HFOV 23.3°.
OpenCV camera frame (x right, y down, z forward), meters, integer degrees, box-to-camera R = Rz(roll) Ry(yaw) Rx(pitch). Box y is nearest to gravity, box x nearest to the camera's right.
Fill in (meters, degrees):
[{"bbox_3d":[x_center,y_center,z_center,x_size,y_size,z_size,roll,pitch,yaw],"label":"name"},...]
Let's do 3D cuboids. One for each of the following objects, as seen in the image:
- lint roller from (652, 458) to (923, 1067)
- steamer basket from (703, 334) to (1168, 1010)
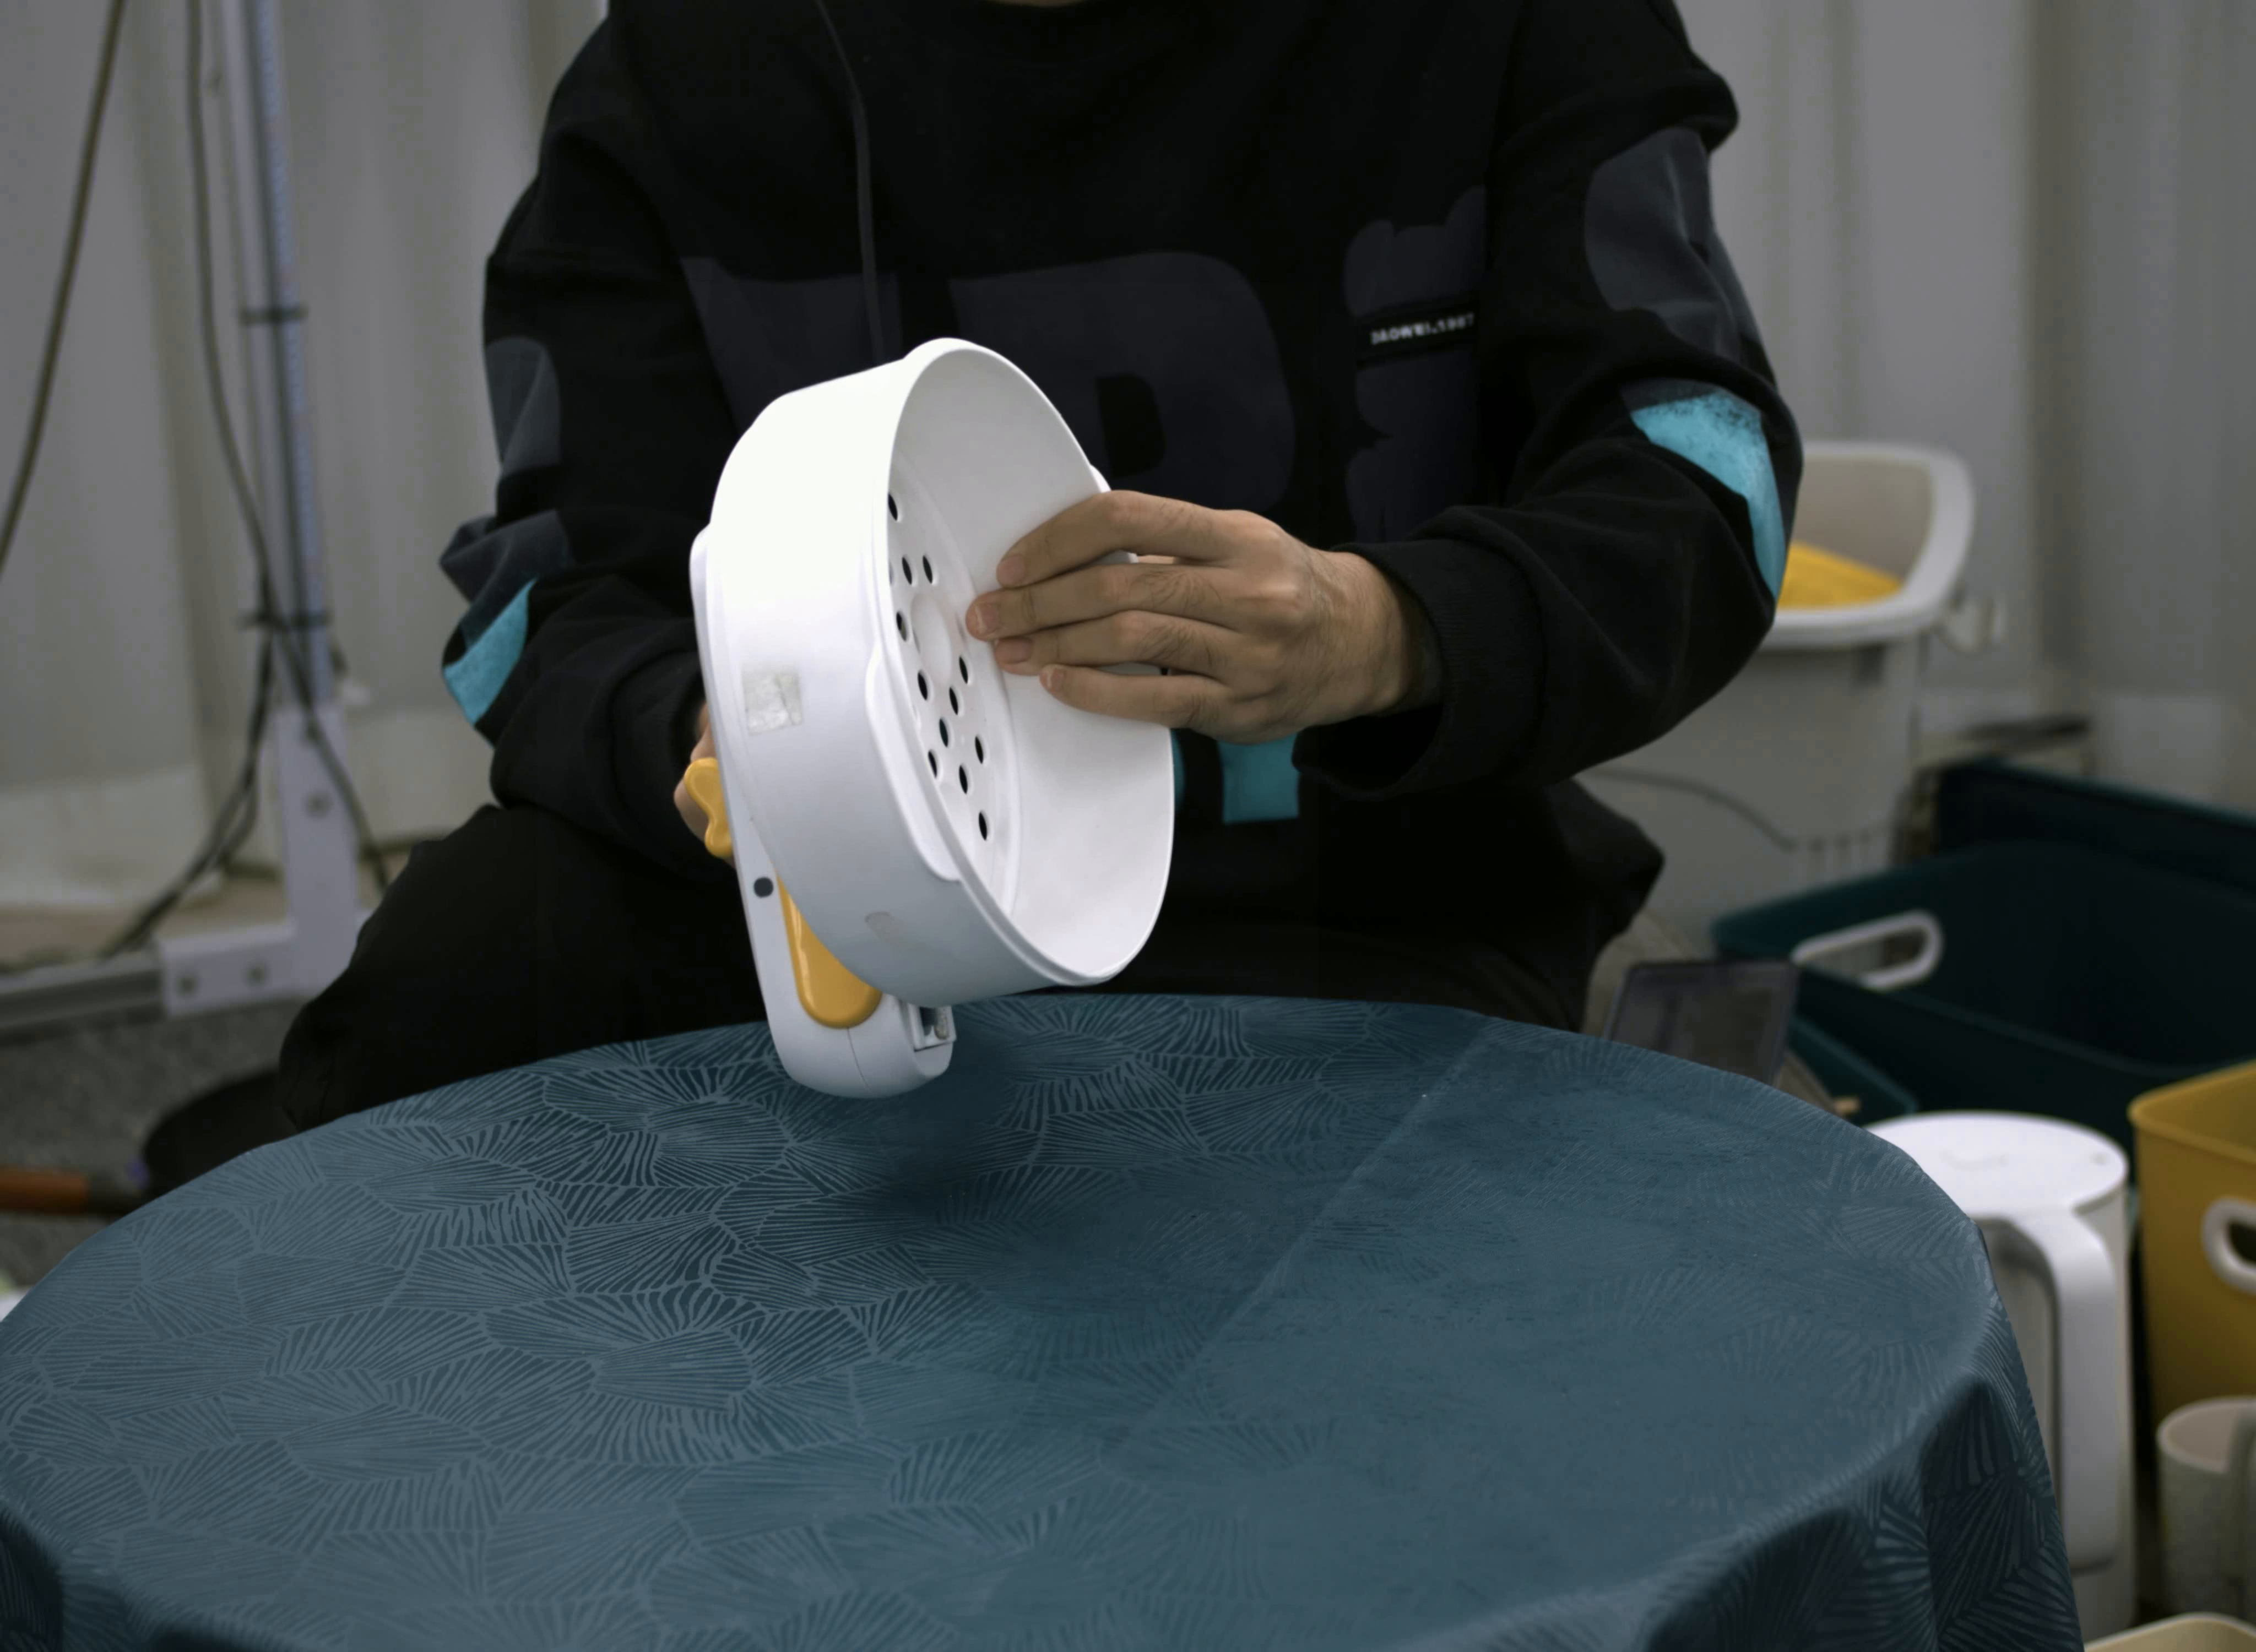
[{"bbox_3d":[-0.104,-0.014,1.768,0.074,0.194,0.192,-15,-6,6],"label":"lint roller"},{"bbox_3d":[-0.058,-0.044,1.656,0.069,0.201,0.232,-14,14,22],"label":"steamer basket"}]
